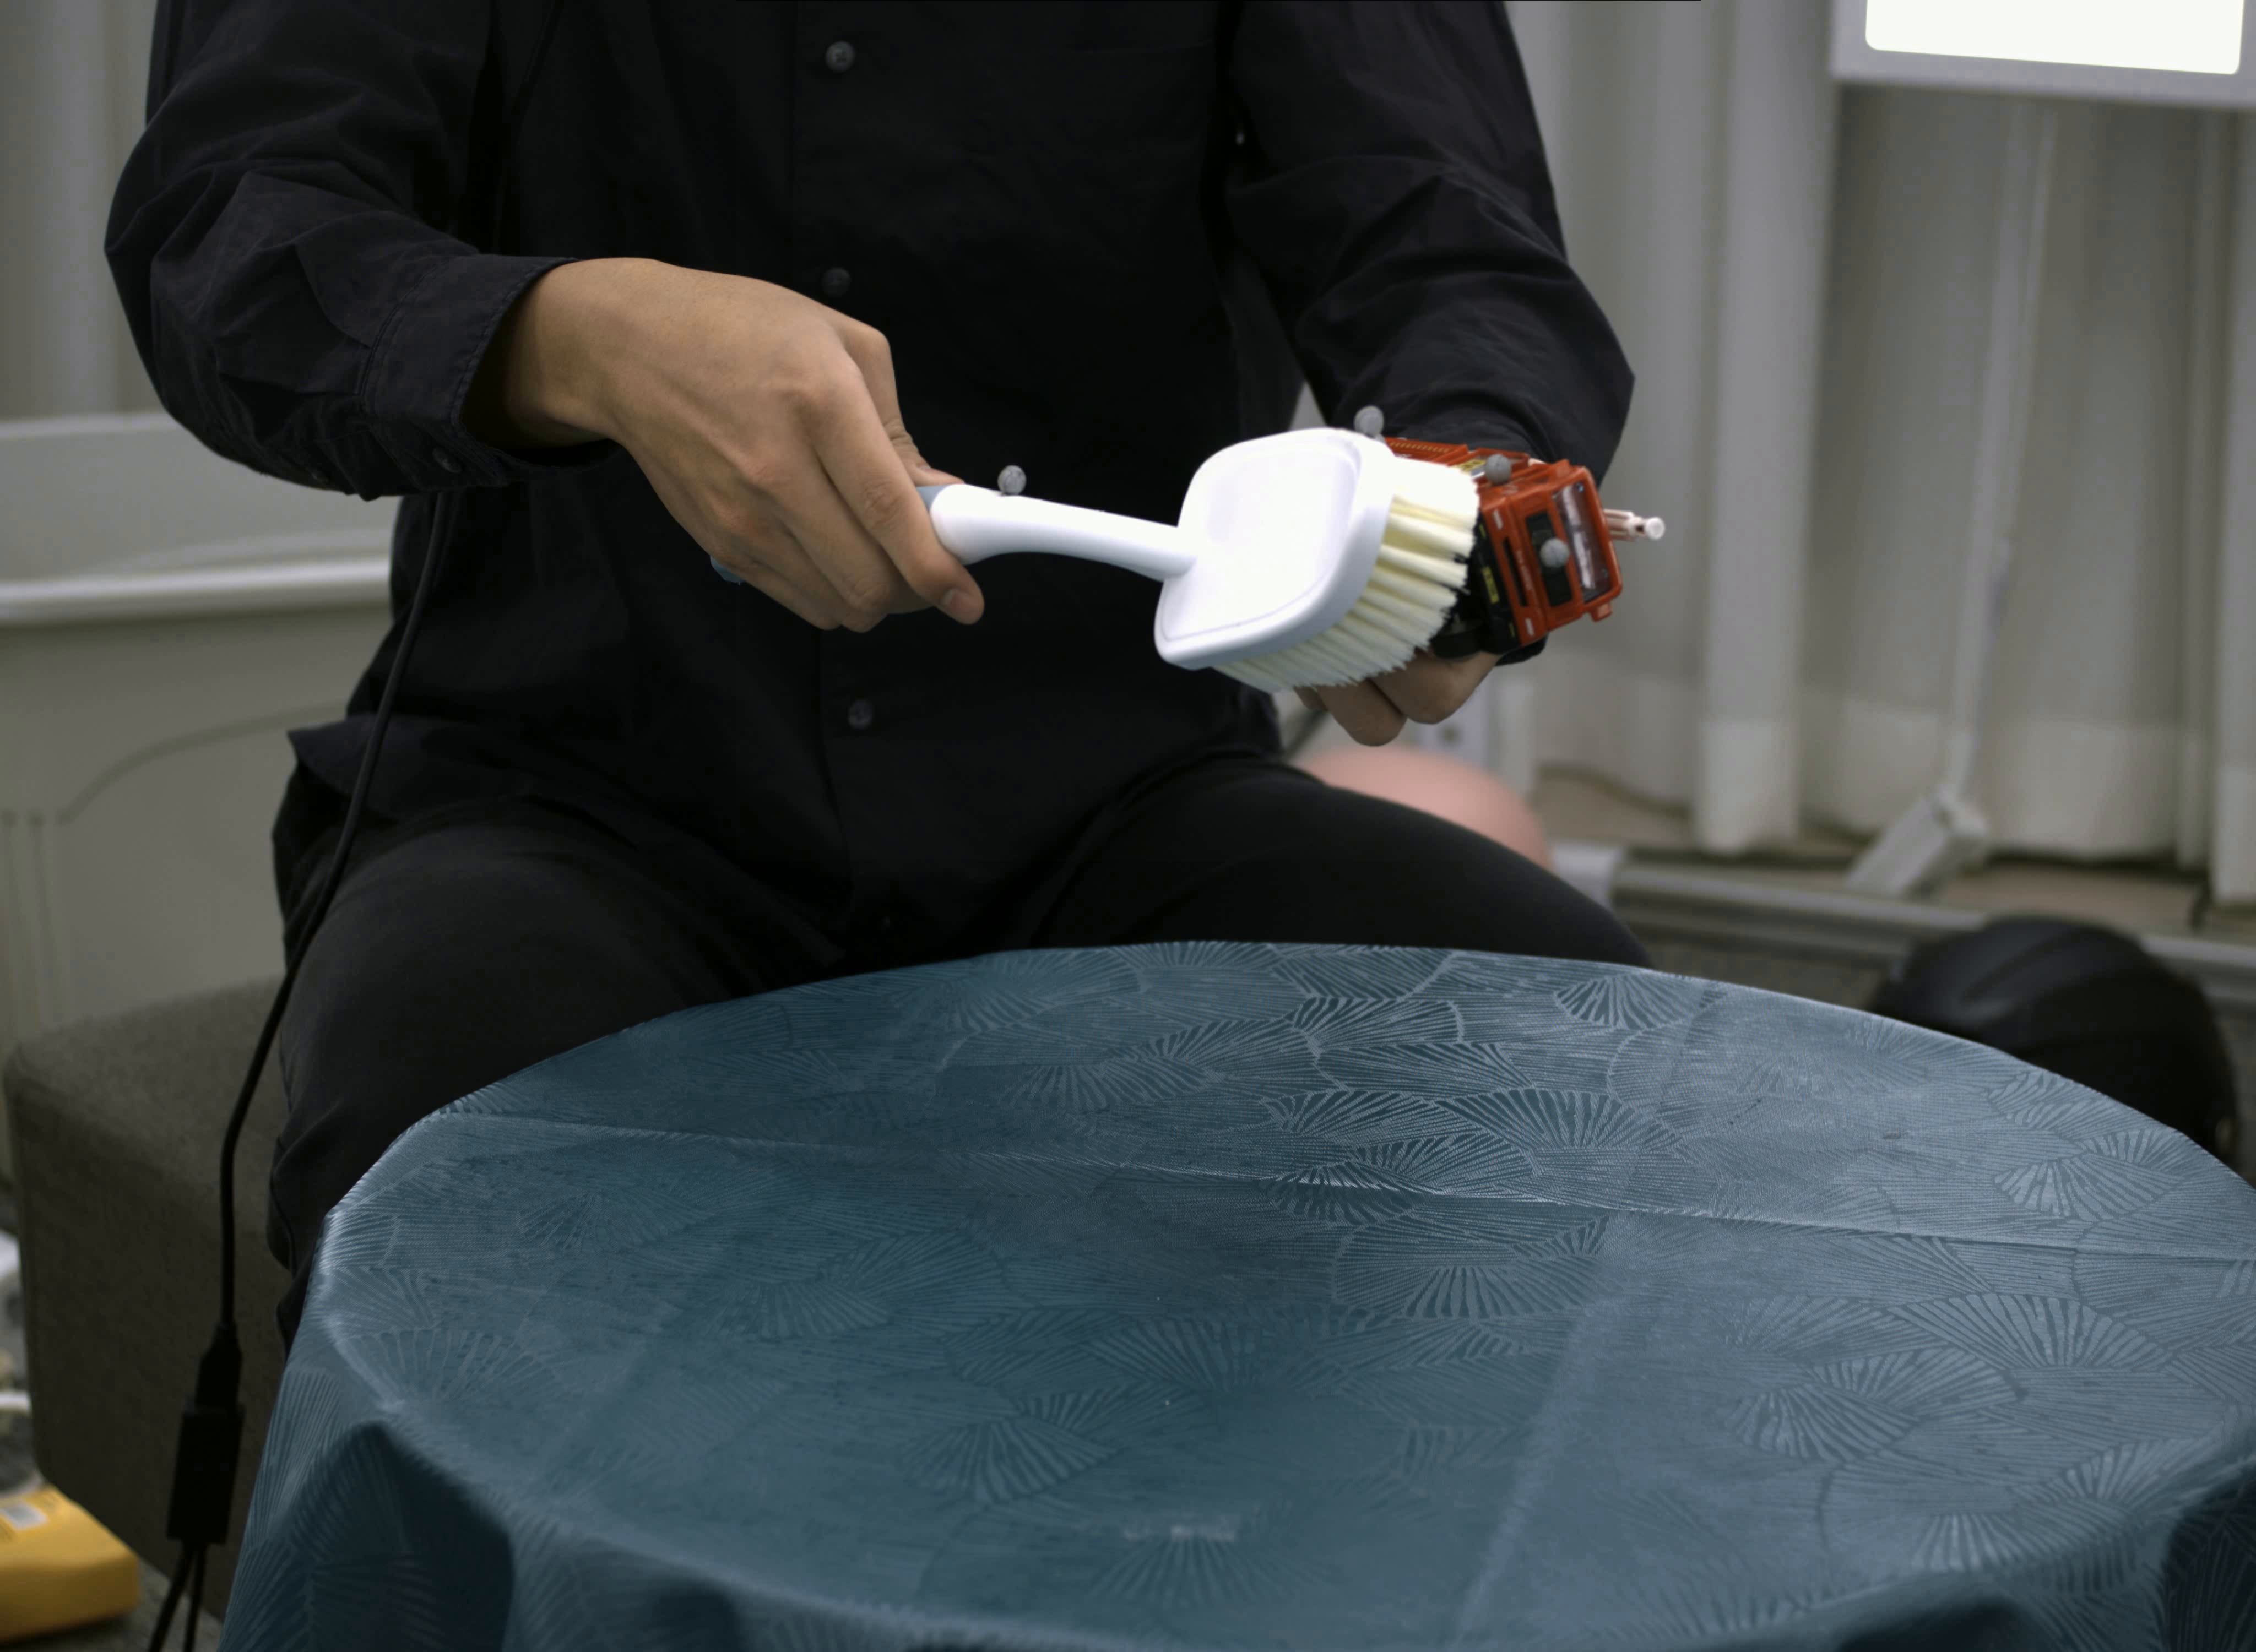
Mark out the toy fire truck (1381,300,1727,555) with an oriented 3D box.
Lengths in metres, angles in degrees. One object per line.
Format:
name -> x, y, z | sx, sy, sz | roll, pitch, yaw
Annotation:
toy fire truck -> 0.110, -0.121, 1.576 | 0.070, 0.054, 0.166 | -24, 16, -20

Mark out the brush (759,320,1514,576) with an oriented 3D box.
brush -> 0.010, -0.117, 1.619 | 0.322, 0.085, 0.083 | 1, 38, 50
